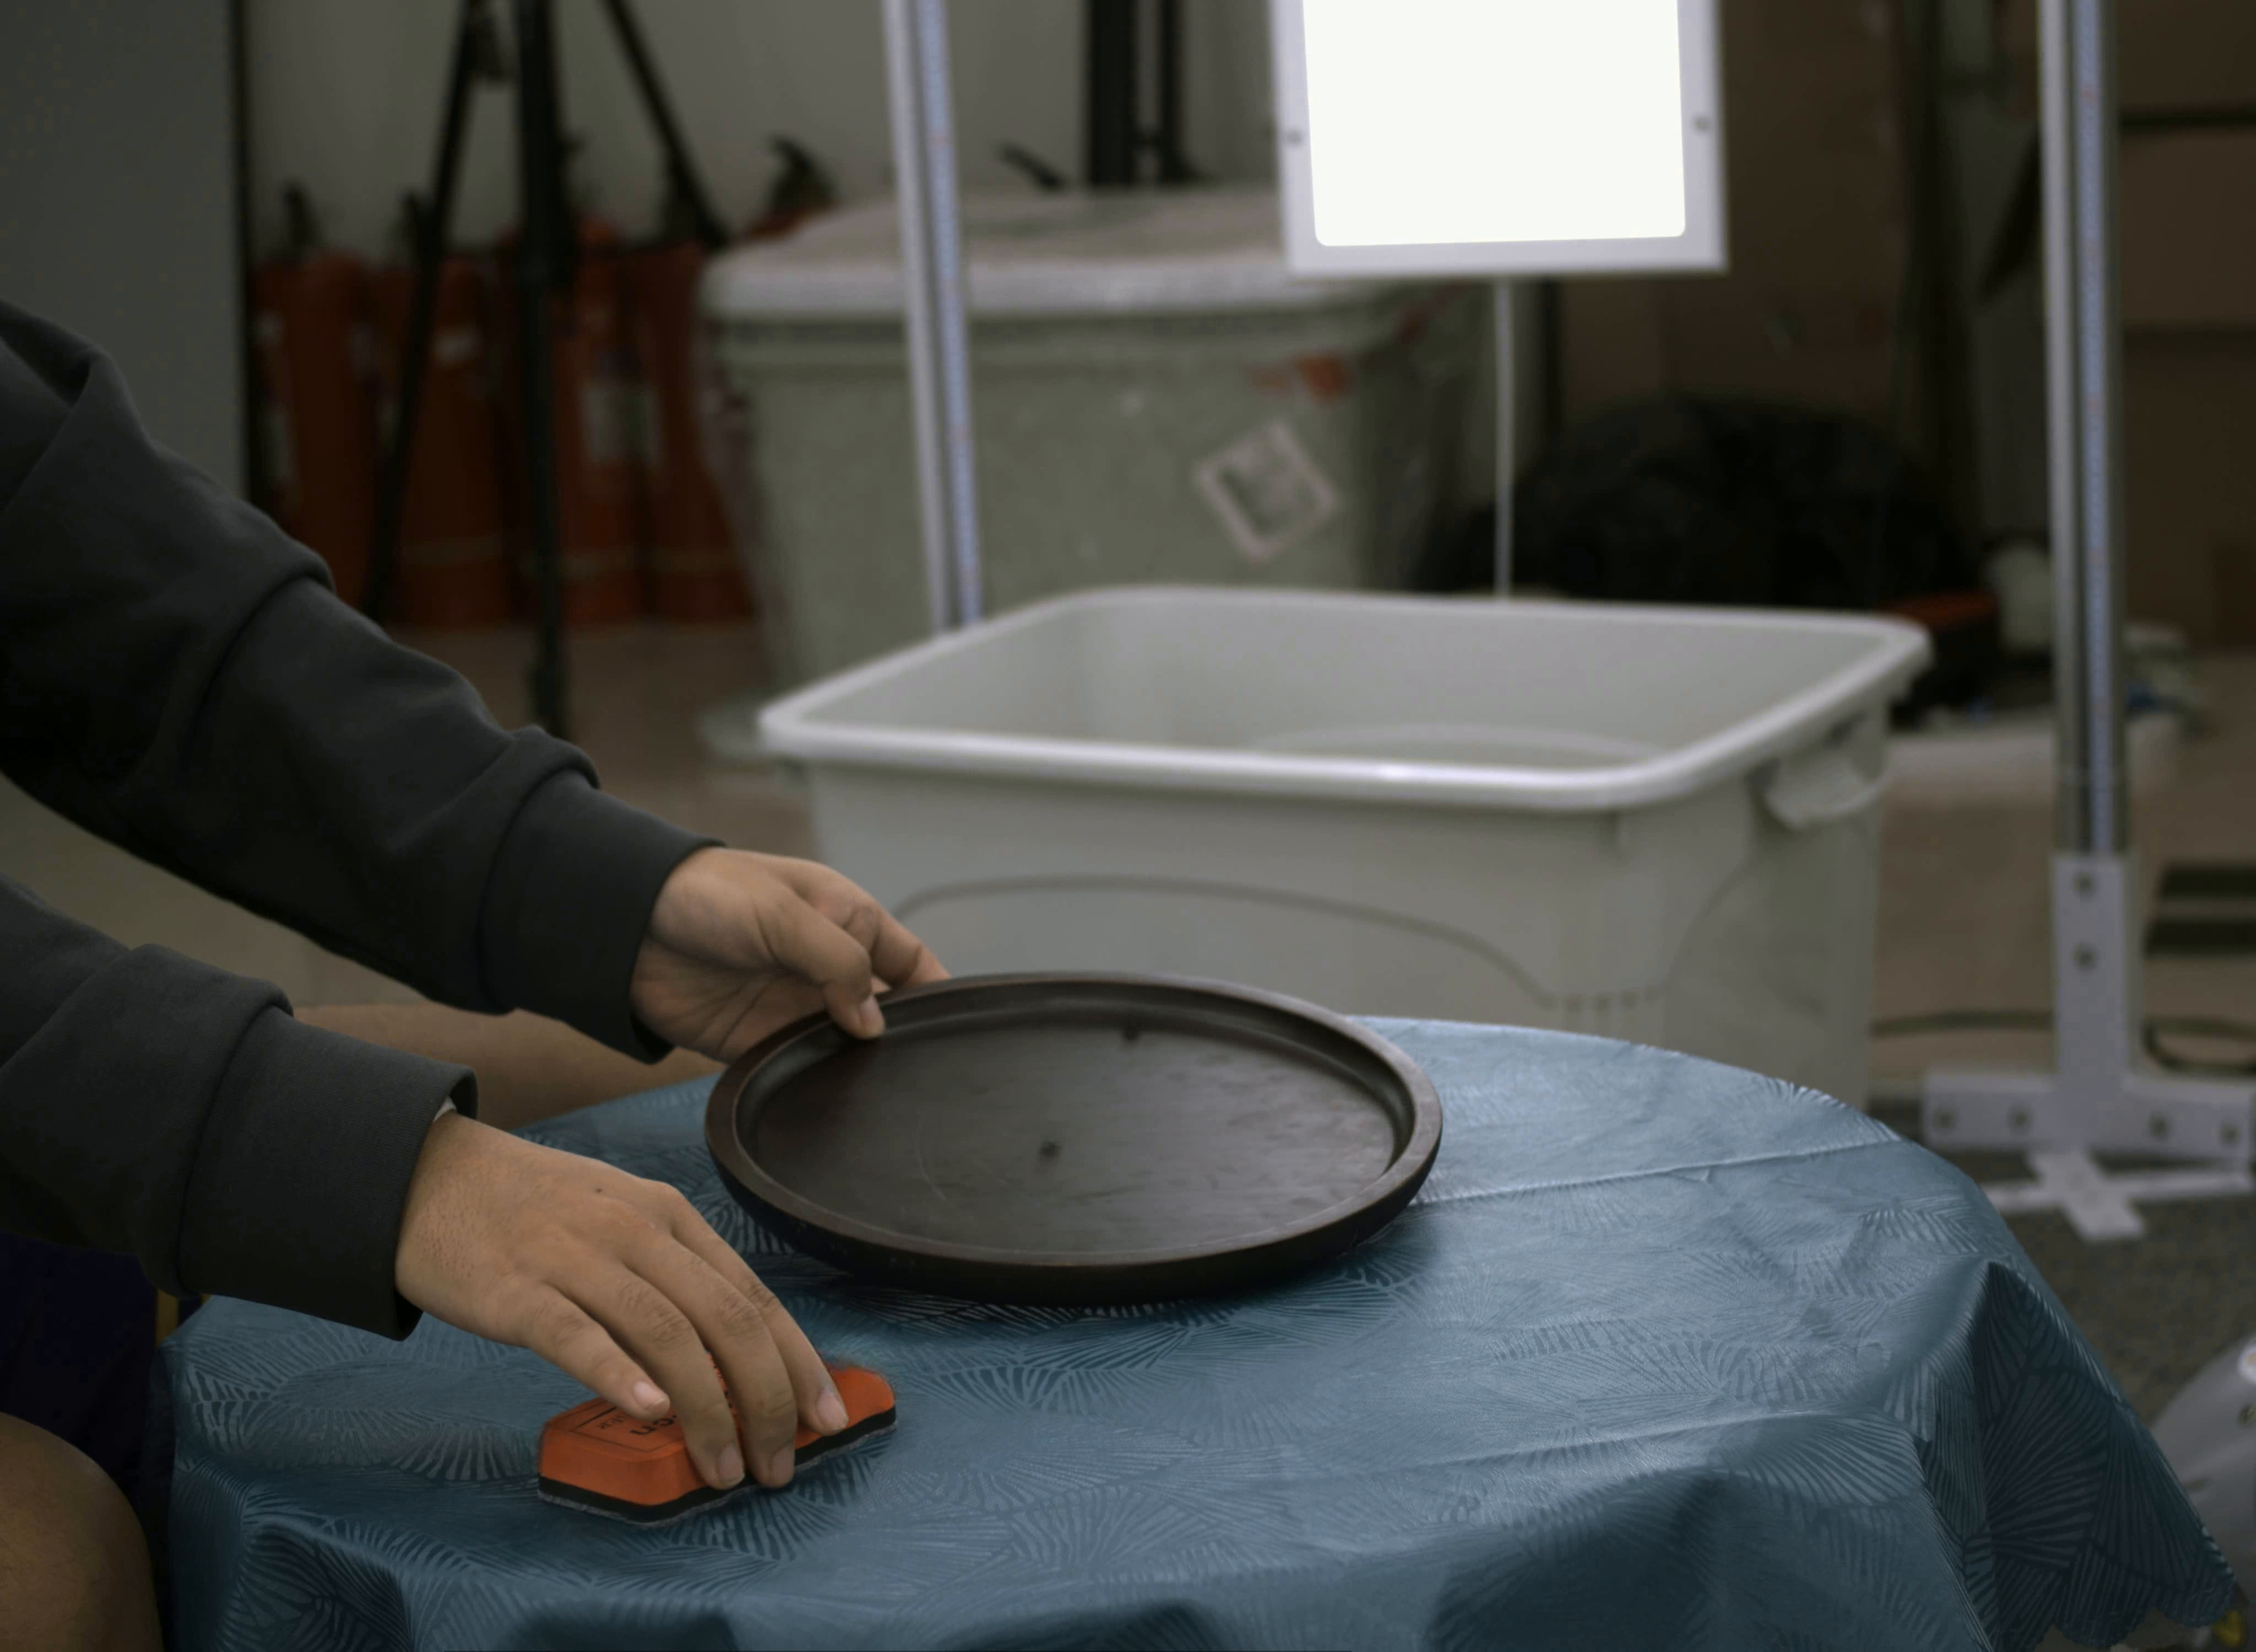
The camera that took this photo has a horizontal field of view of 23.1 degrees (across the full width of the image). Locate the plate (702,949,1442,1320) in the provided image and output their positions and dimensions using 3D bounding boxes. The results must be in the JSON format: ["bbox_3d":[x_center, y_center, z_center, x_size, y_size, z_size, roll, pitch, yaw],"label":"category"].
[{"bbox_3d":[-0.019,0.106,1.877,0.254,0.029,0.254,-3,22,0],"label":"plate"}]

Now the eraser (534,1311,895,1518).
[{"bbox_3d":[-0.124,0.177,1.669,0.060,0.023,0.105,13,23,43],"label":"eraser"}]
